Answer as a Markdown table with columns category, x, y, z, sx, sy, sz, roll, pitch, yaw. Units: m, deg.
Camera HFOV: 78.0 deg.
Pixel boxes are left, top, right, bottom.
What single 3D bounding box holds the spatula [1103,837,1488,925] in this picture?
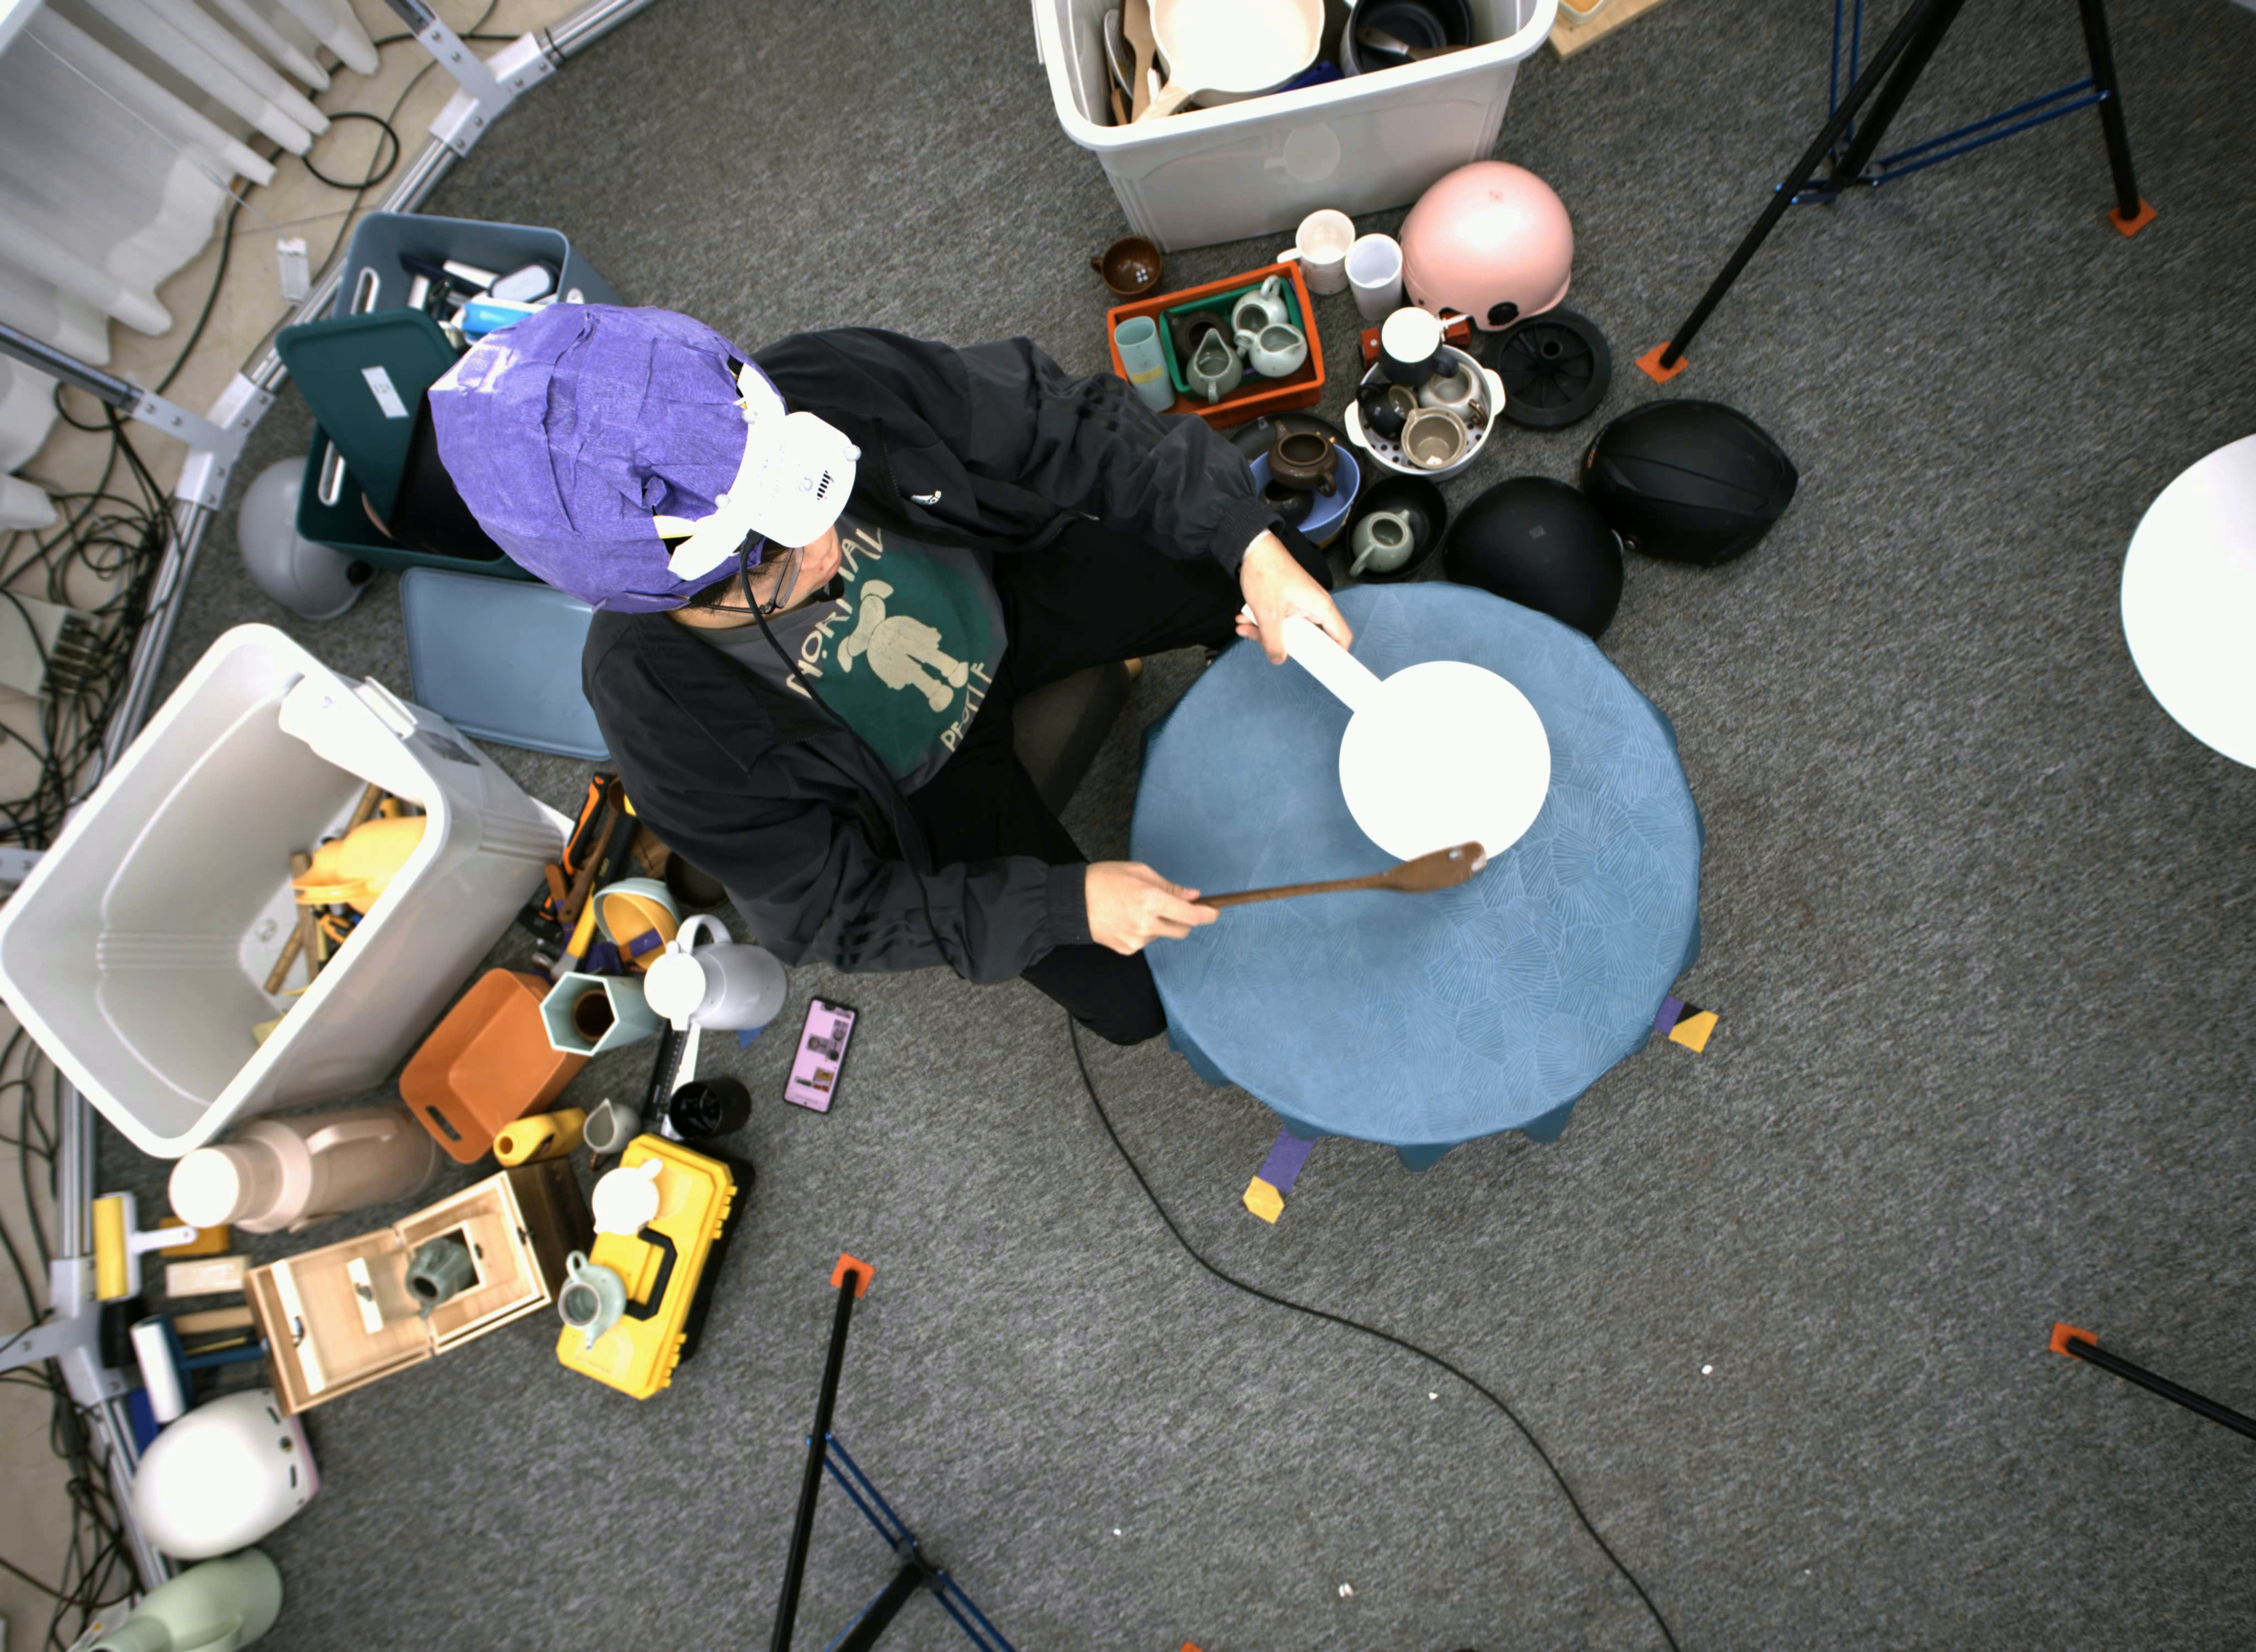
| category | x | y | z | sx | sy | sz | roll | pitch | yaw |
| --- | --- | --- | --- | --- | --- | --- | --- | --- | --- |
| spatula | 0.156 | 0.059 | 1.347 | 0.389 | 0.094 | 0.016 | -10 | 106 | 17 |

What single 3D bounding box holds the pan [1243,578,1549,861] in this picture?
| category | x | y | z | sx | sy | sz | roll | pitch | yaw |
| --- | --- | --- | --- | --- | --- | --- | --- | --- | --- |
| pan | 0.264 | -0.117 | 1.384 | 0.353 | 0.101 | 0.204 | 43 | 109 | 9 |
